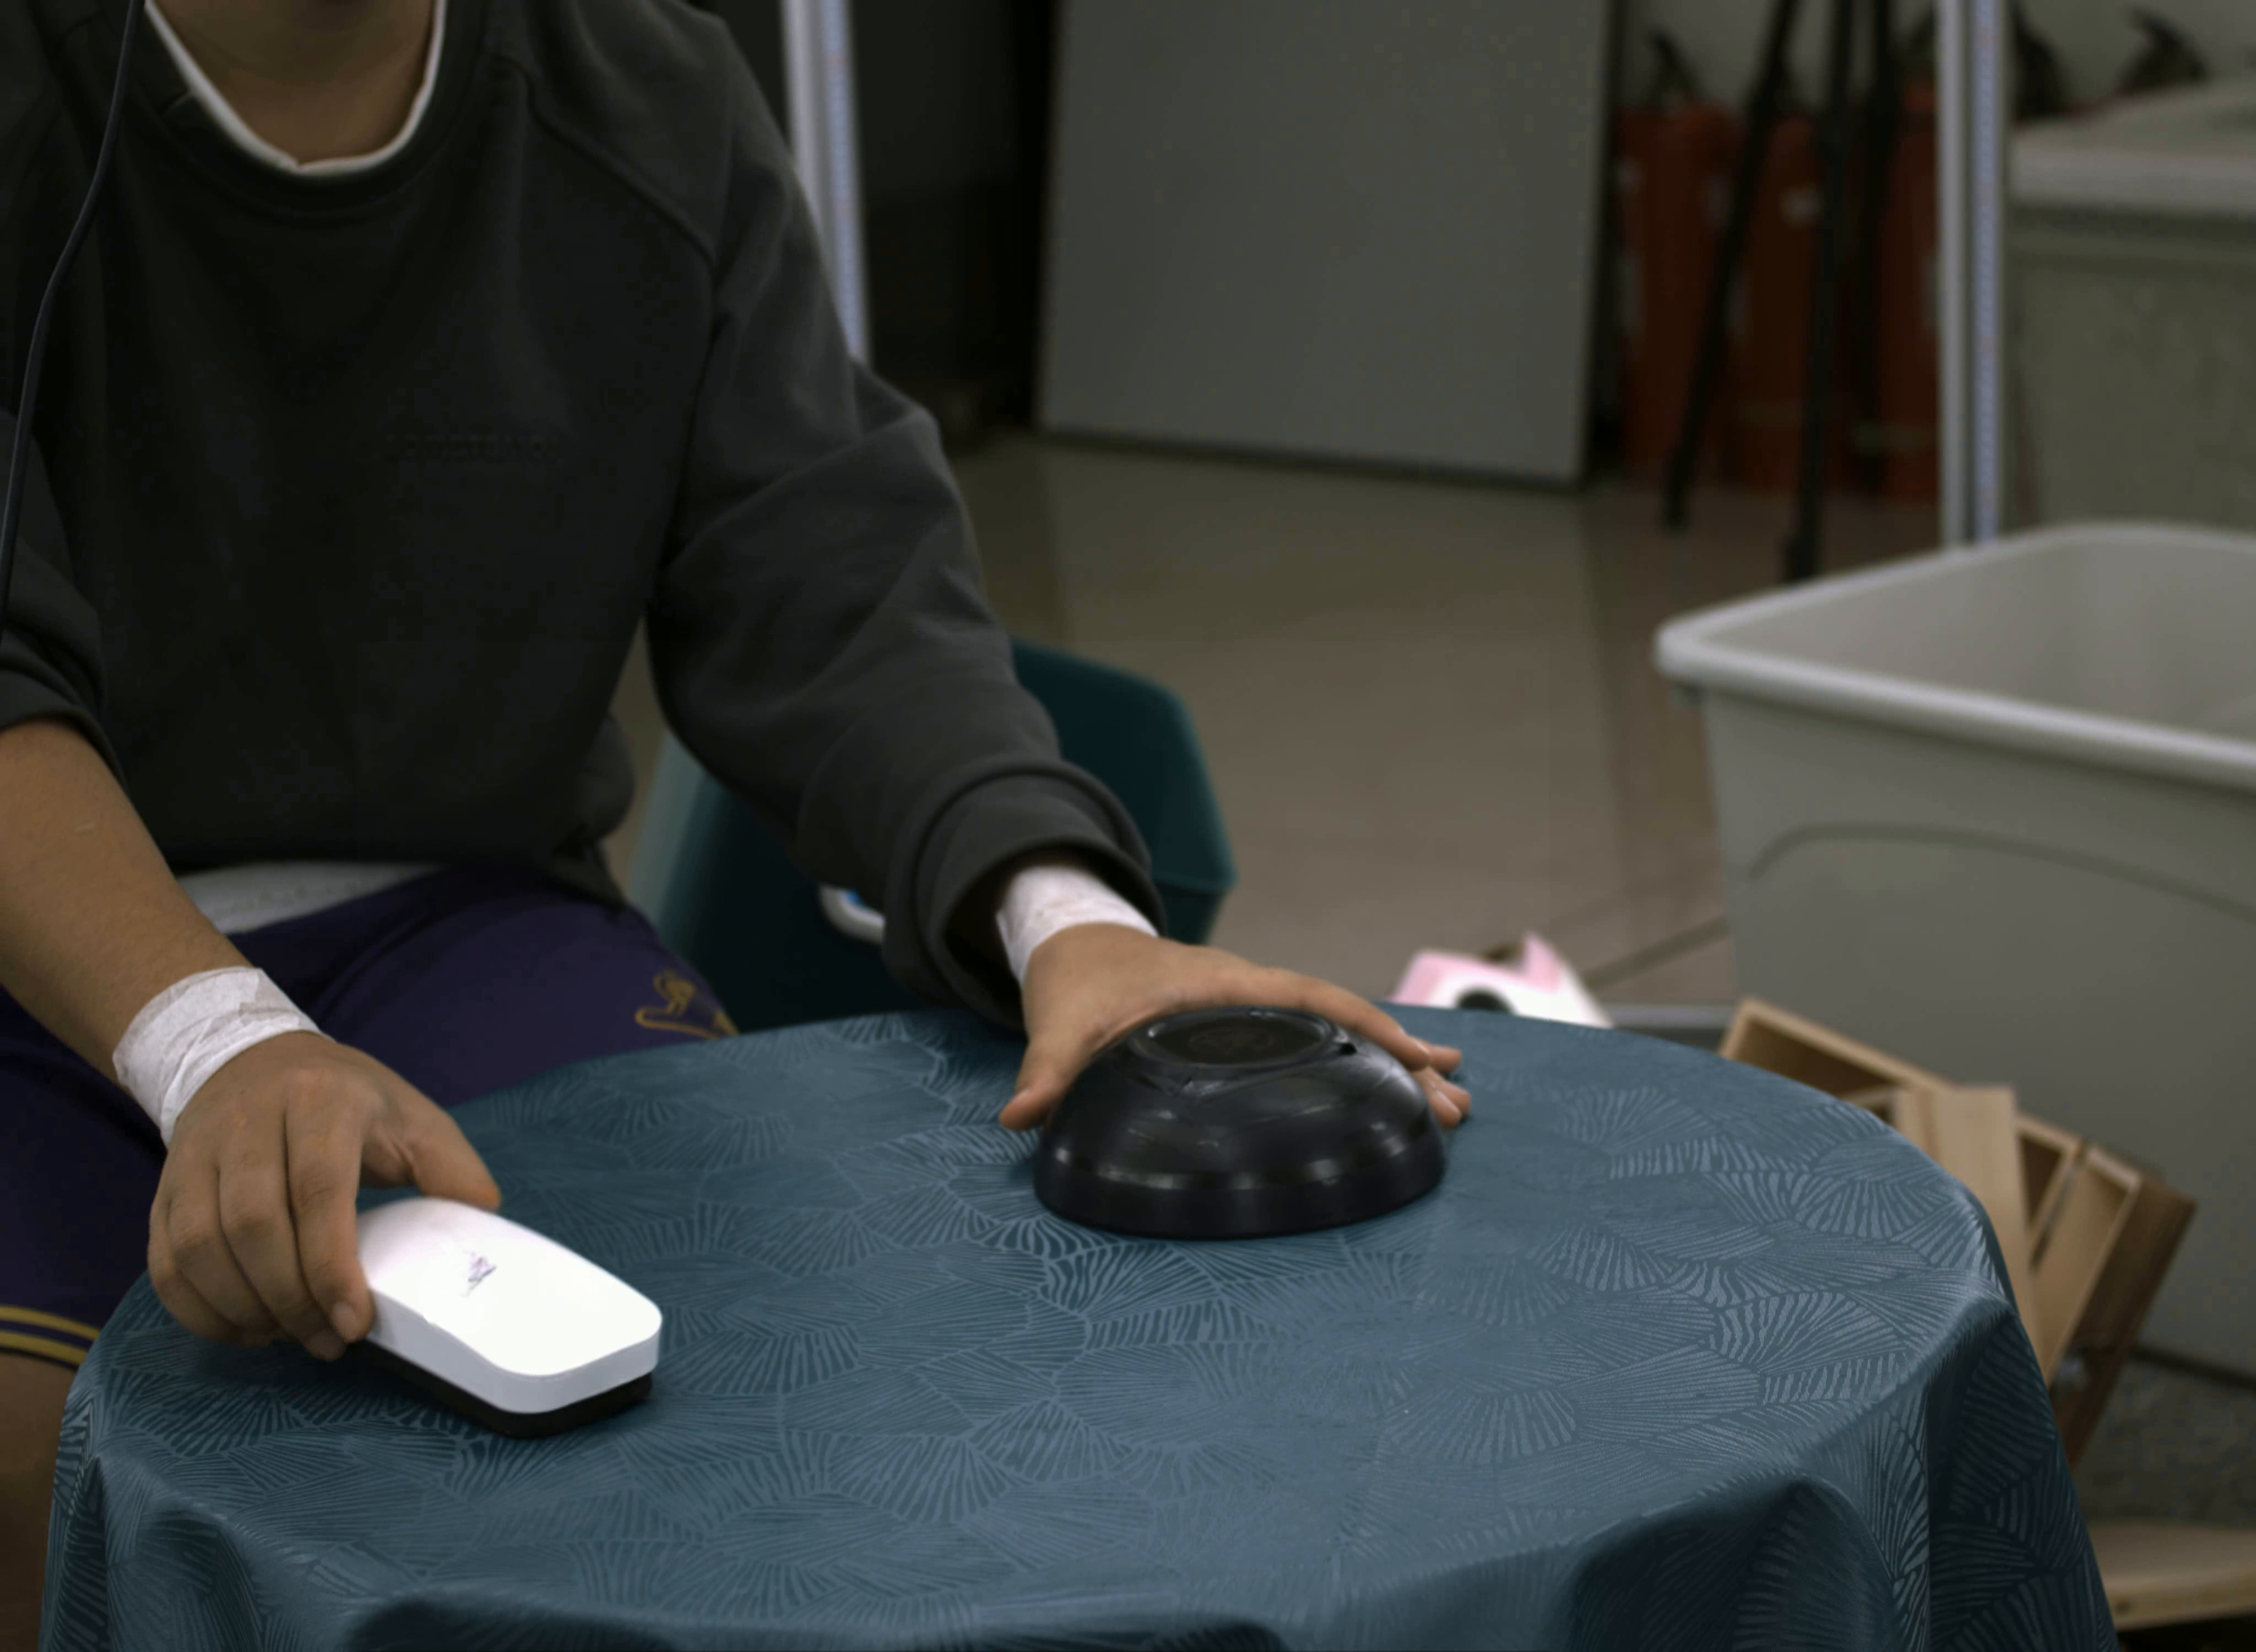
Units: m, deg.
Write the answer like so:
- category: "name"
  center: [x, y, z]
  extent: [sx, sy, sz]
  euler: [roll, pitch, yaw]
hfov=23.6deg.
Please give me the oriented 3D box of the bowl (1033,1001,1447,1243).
- category: "bowl"
  center: [0.035, 0.091, 1.772]
  extent: [0.138, 0.050, 0.140]
  euler: [-4, 15, 0]

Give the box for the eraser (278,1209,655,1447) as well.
- category: "eraser"
  center: [-0.198, 0.146, 1.628]
  extent: [0.062, 0.035, 0.132]
  euler: [-15, 25, -38]
